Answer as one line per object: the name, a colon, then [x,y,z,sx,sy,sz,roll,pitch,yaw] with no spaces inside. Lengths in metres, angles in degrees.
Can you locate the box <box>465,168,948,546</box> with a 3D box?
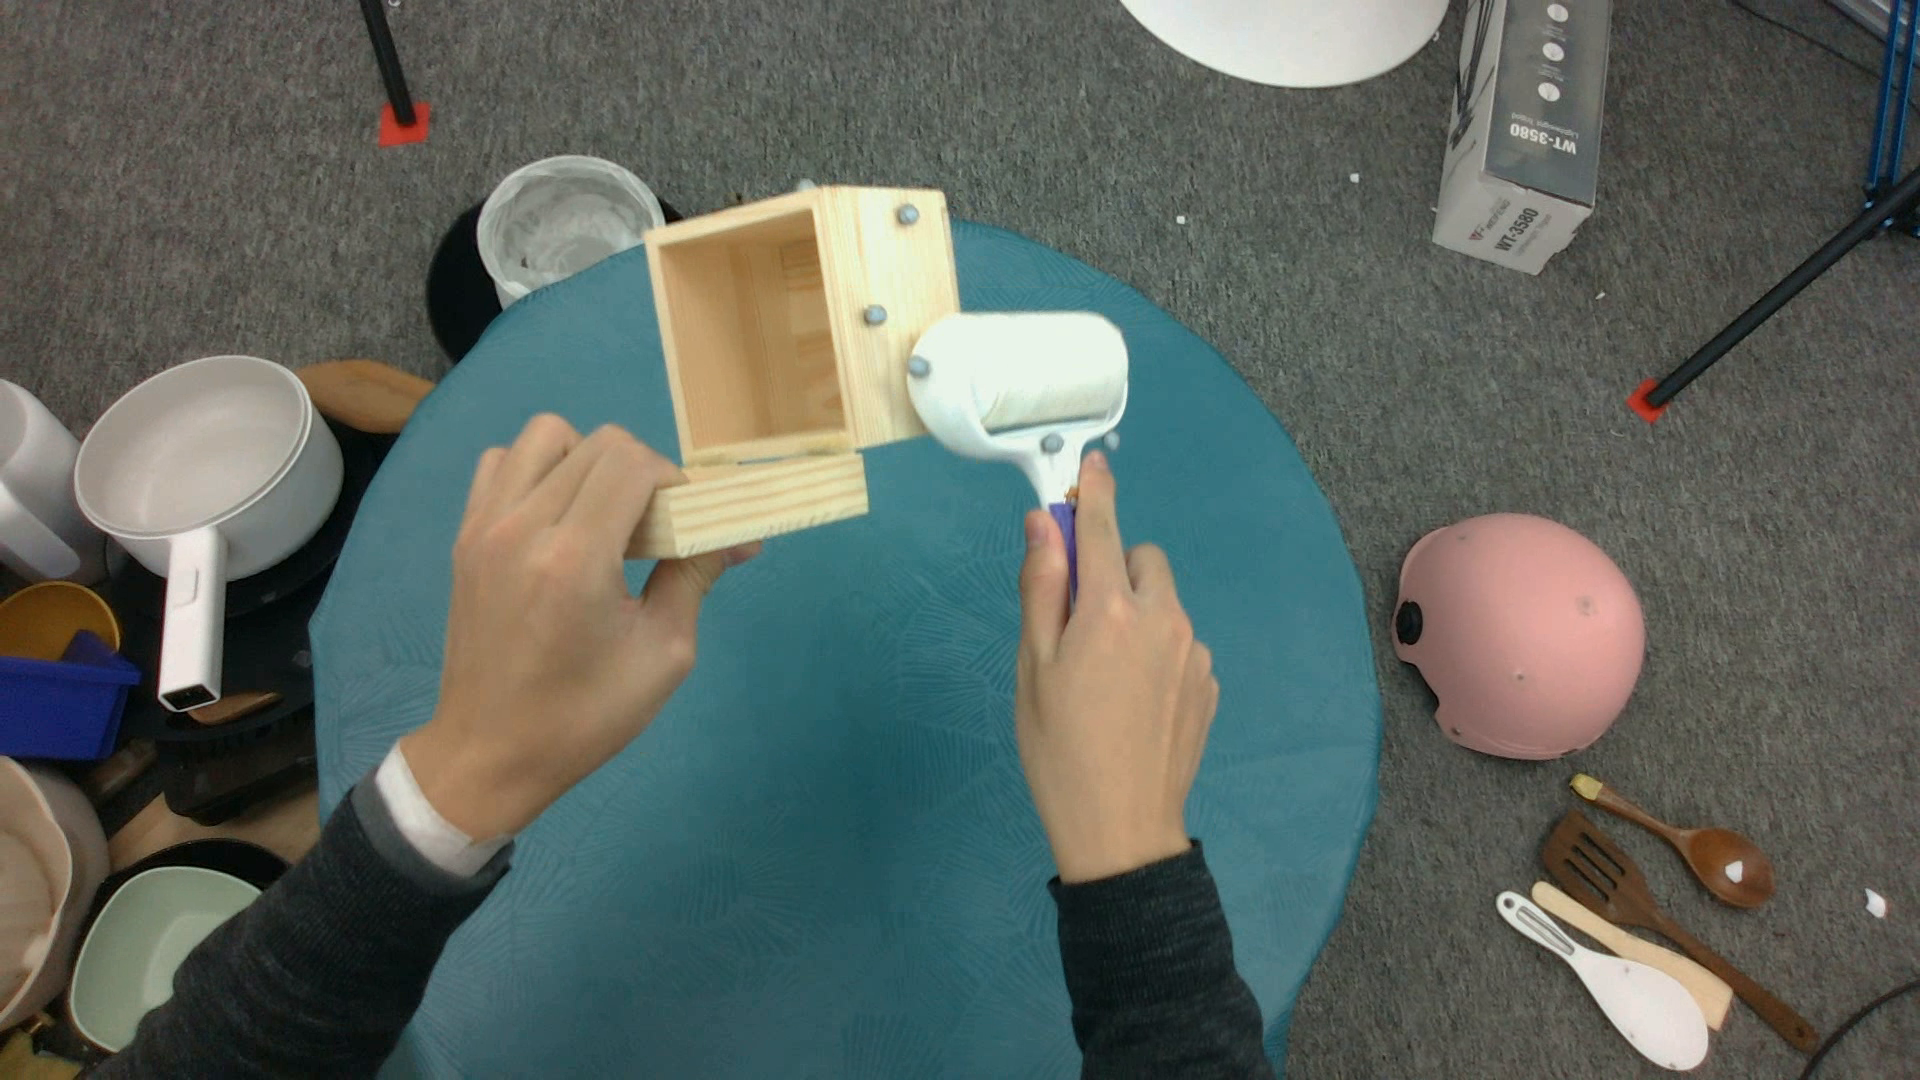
box: [-0.097,-0.077,0.541,0.185,0.102,0.134,-19,103,-53]

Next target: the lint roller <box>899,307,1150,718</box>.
lint roller: [0.048,-0.015,0.573,0.133,0.050,0.181,-11,74,-55]
